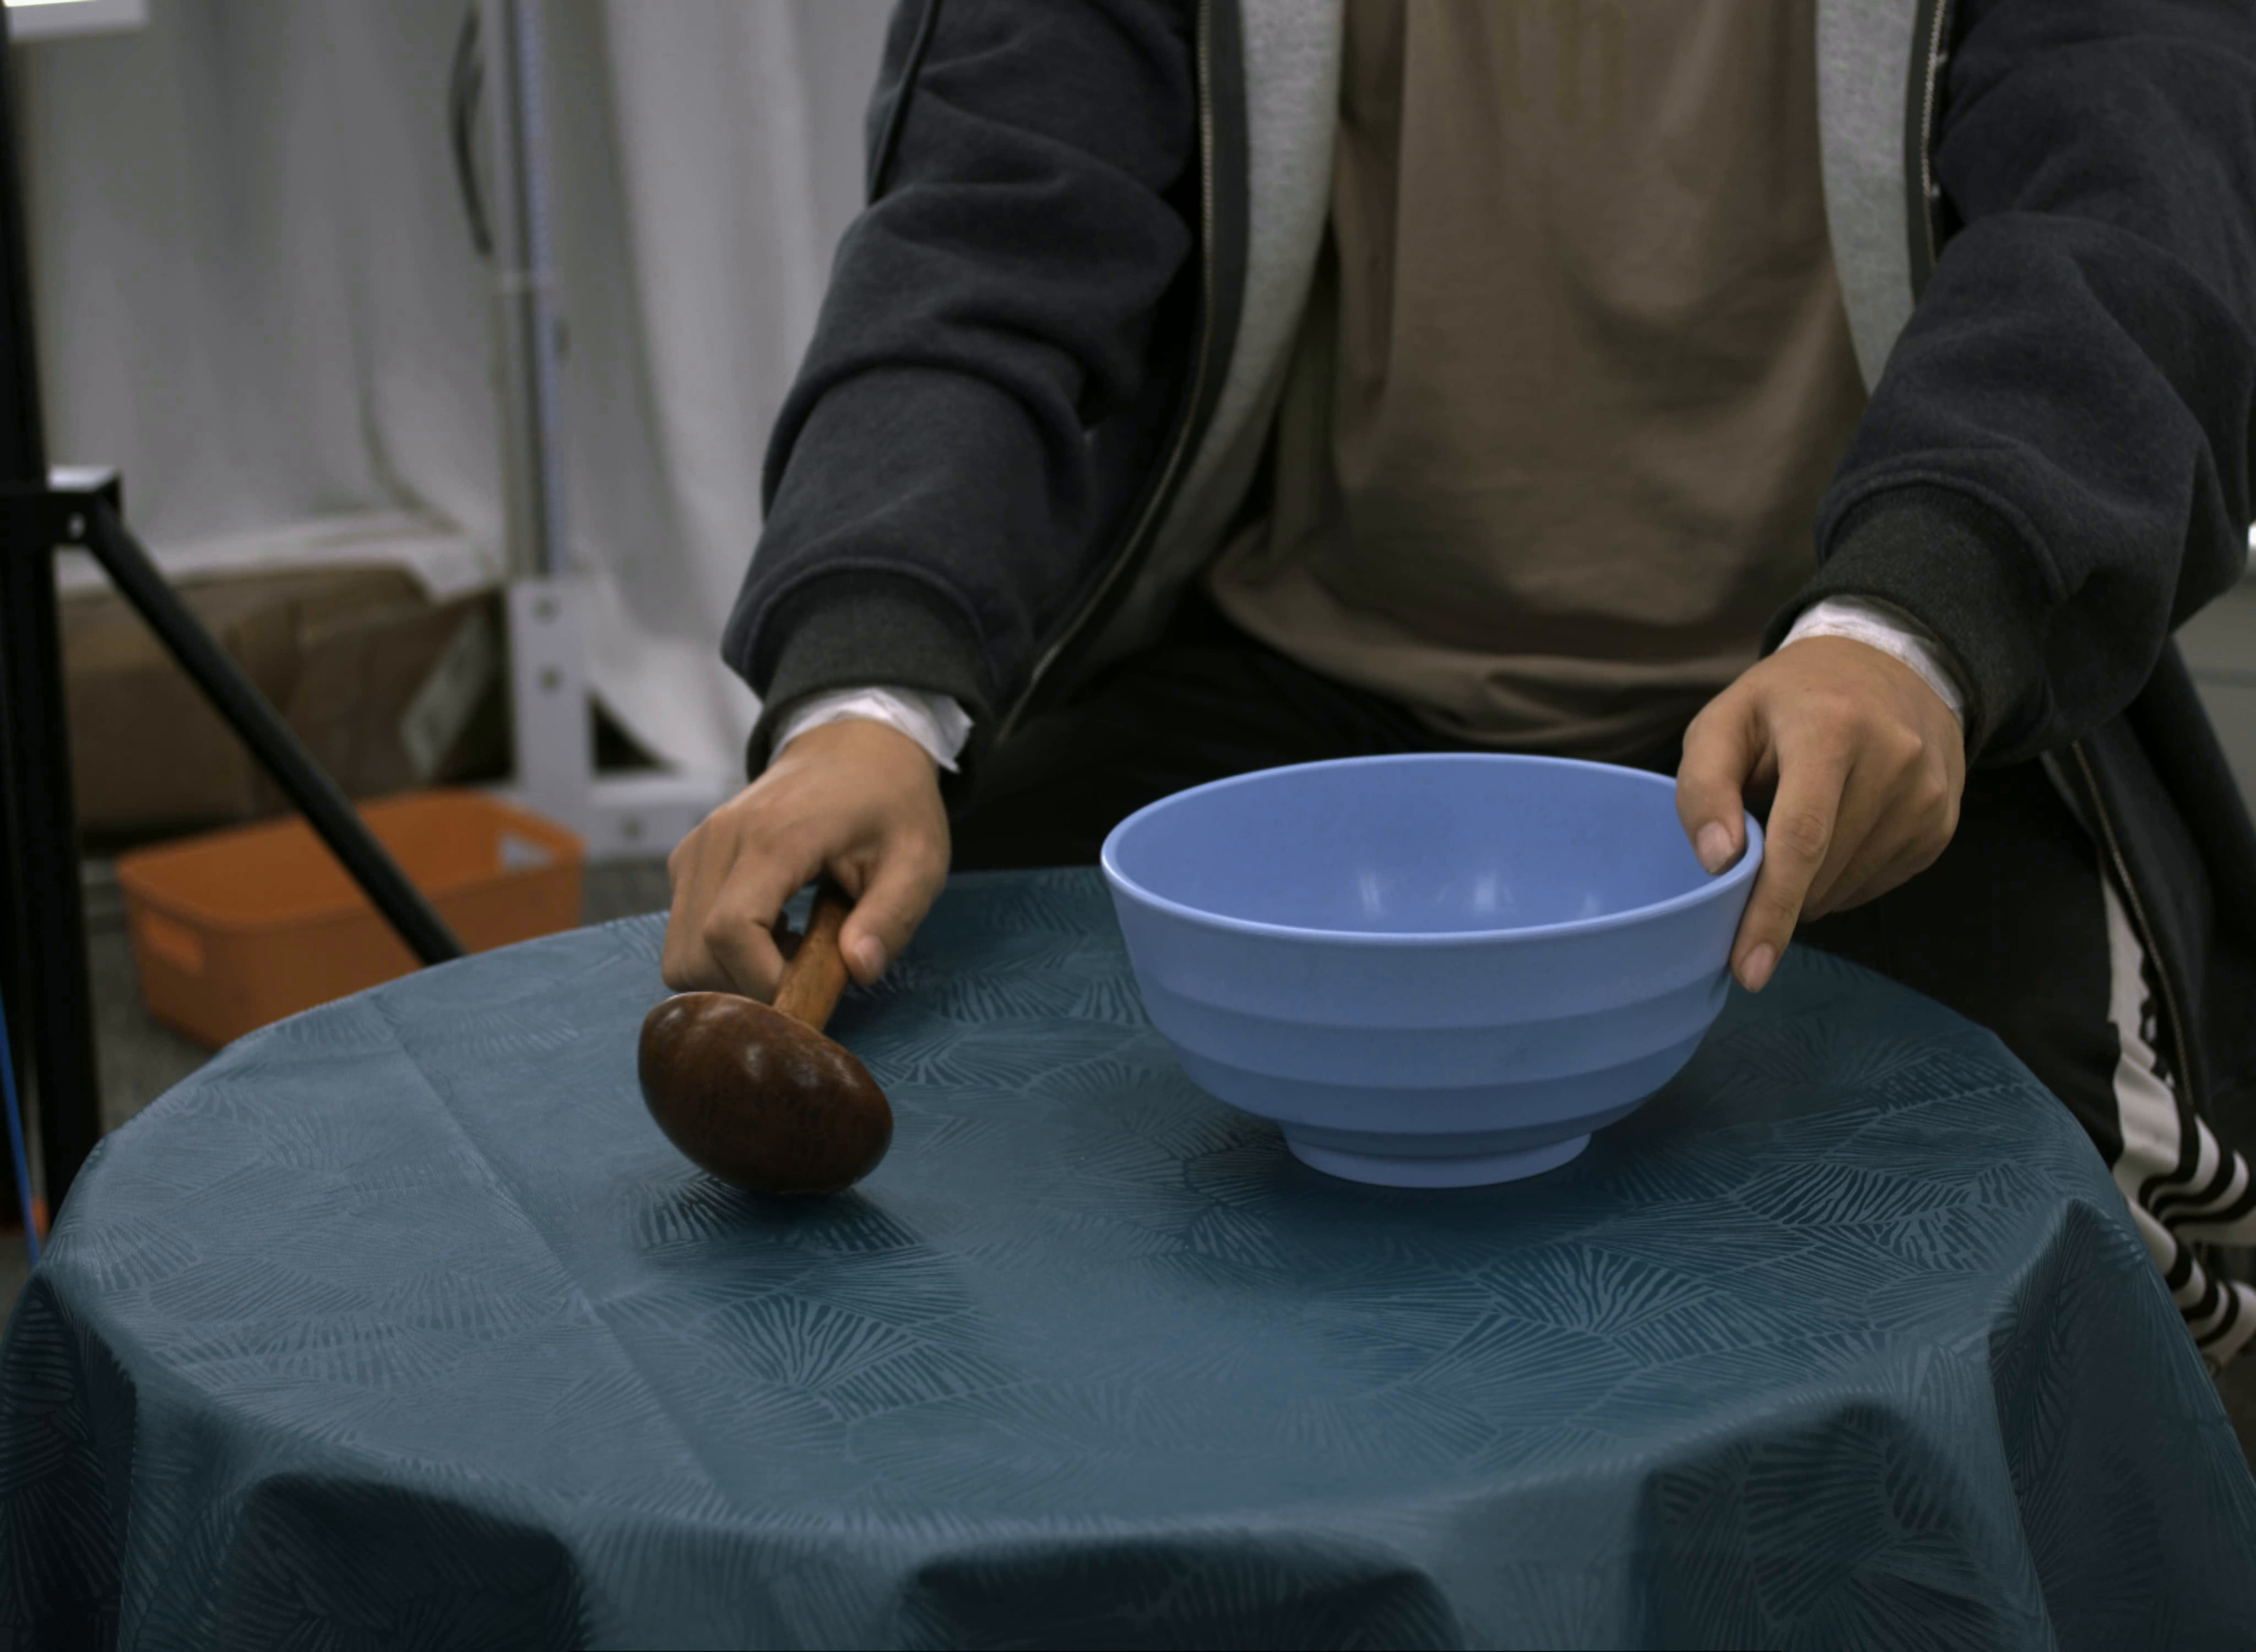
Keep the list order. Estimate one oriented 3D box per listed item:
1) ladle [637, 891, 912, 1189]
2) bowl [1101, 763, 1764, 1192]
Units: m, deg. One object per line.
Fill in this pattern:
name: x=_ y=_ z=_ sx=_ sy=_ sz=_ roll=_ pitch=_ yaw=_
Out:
ladle: x=-0.091 y=0.044 z=1.654 sx=0.082 sy=0.077 sz=0.273 roll=34 pitch=20 yaw=-2
bowl: x=0.091 y=0.050 z=1.580 sx=0.195 sy=0.095 sz=0.197 roll=-3 pitch=15 yaw=-1
